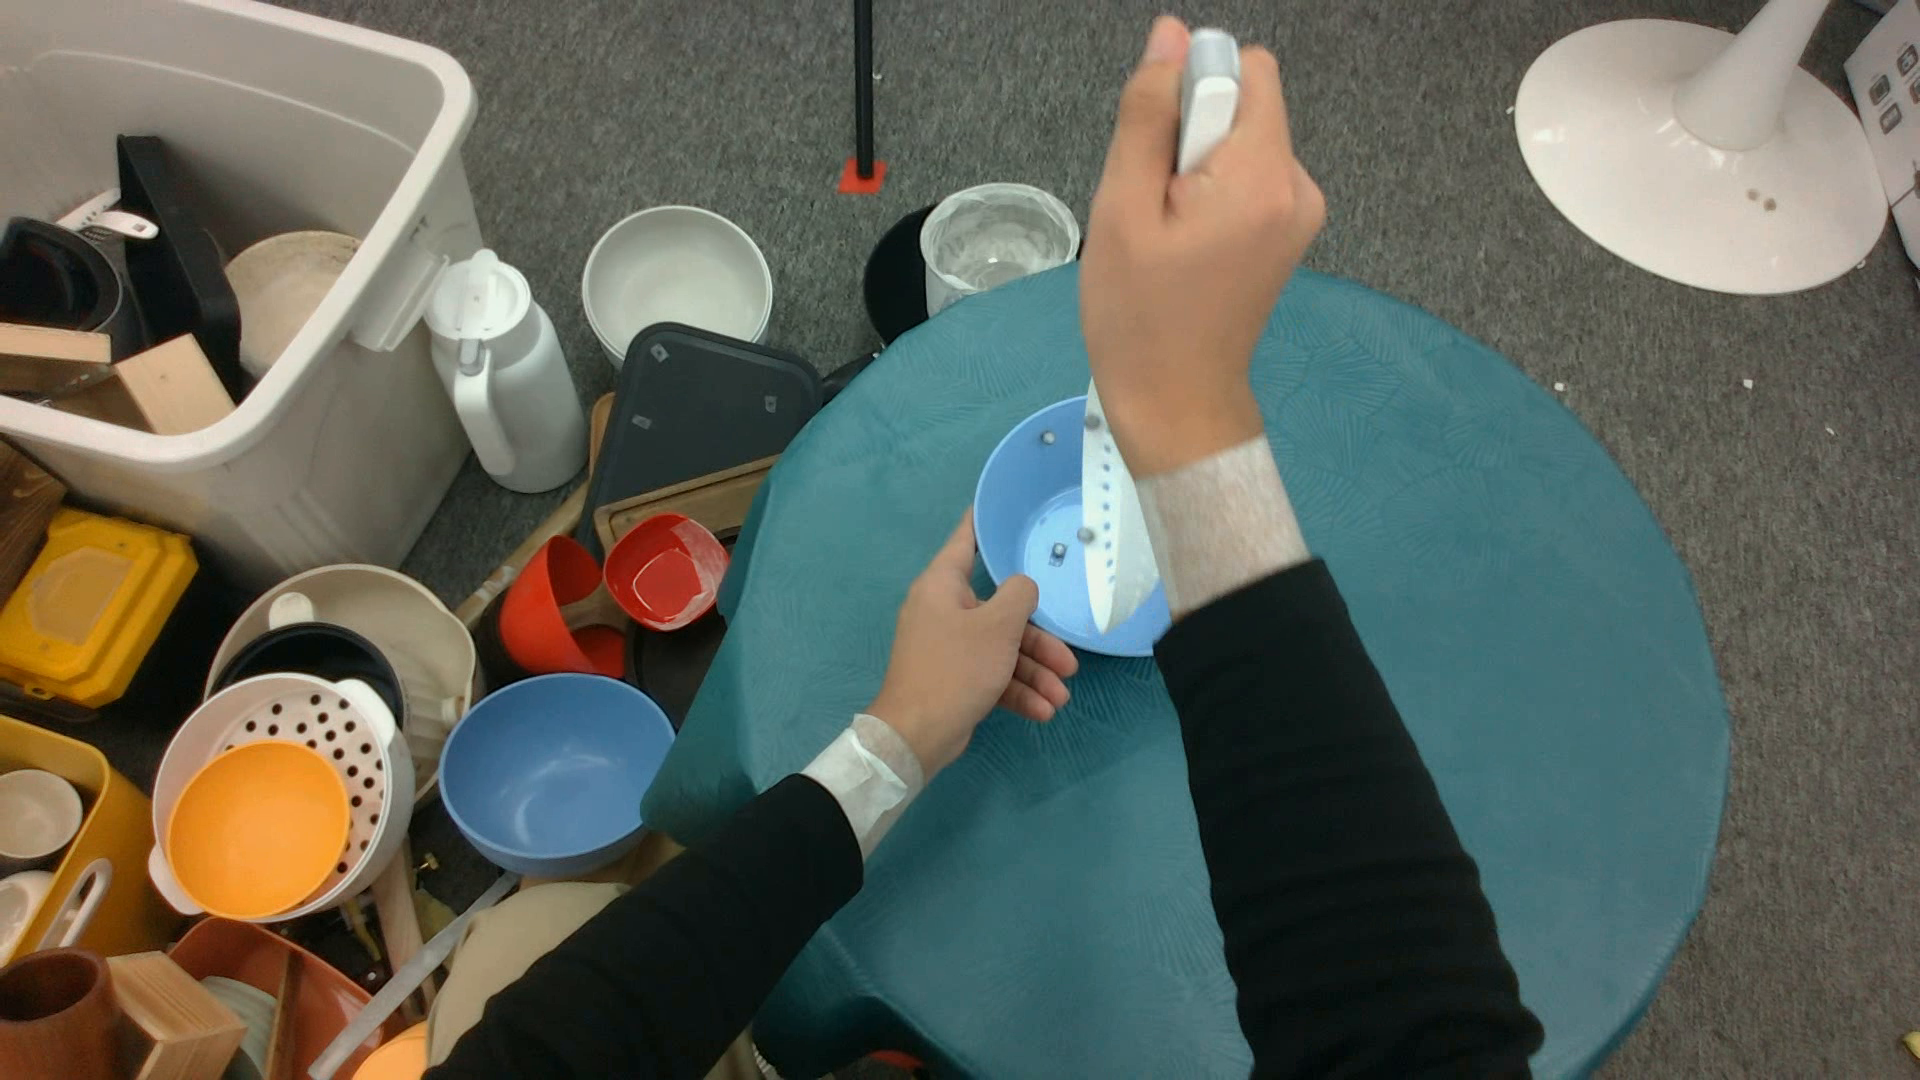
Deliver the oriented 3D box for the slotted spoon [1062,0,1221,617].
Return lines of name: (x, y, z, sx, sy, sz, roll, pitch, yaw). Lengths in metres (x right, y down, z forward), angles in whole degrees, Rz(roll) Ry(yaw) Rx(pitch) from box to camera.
slotted spoon: (0.070, -0.082, 0.591, 0.046, 0.348, 0.136, -3, 61, 2)

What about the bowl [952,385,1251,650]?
bowl: (0.081, -0.003, 0.828, 0.176, 0.070, 0.177, 2, 62, -3)
